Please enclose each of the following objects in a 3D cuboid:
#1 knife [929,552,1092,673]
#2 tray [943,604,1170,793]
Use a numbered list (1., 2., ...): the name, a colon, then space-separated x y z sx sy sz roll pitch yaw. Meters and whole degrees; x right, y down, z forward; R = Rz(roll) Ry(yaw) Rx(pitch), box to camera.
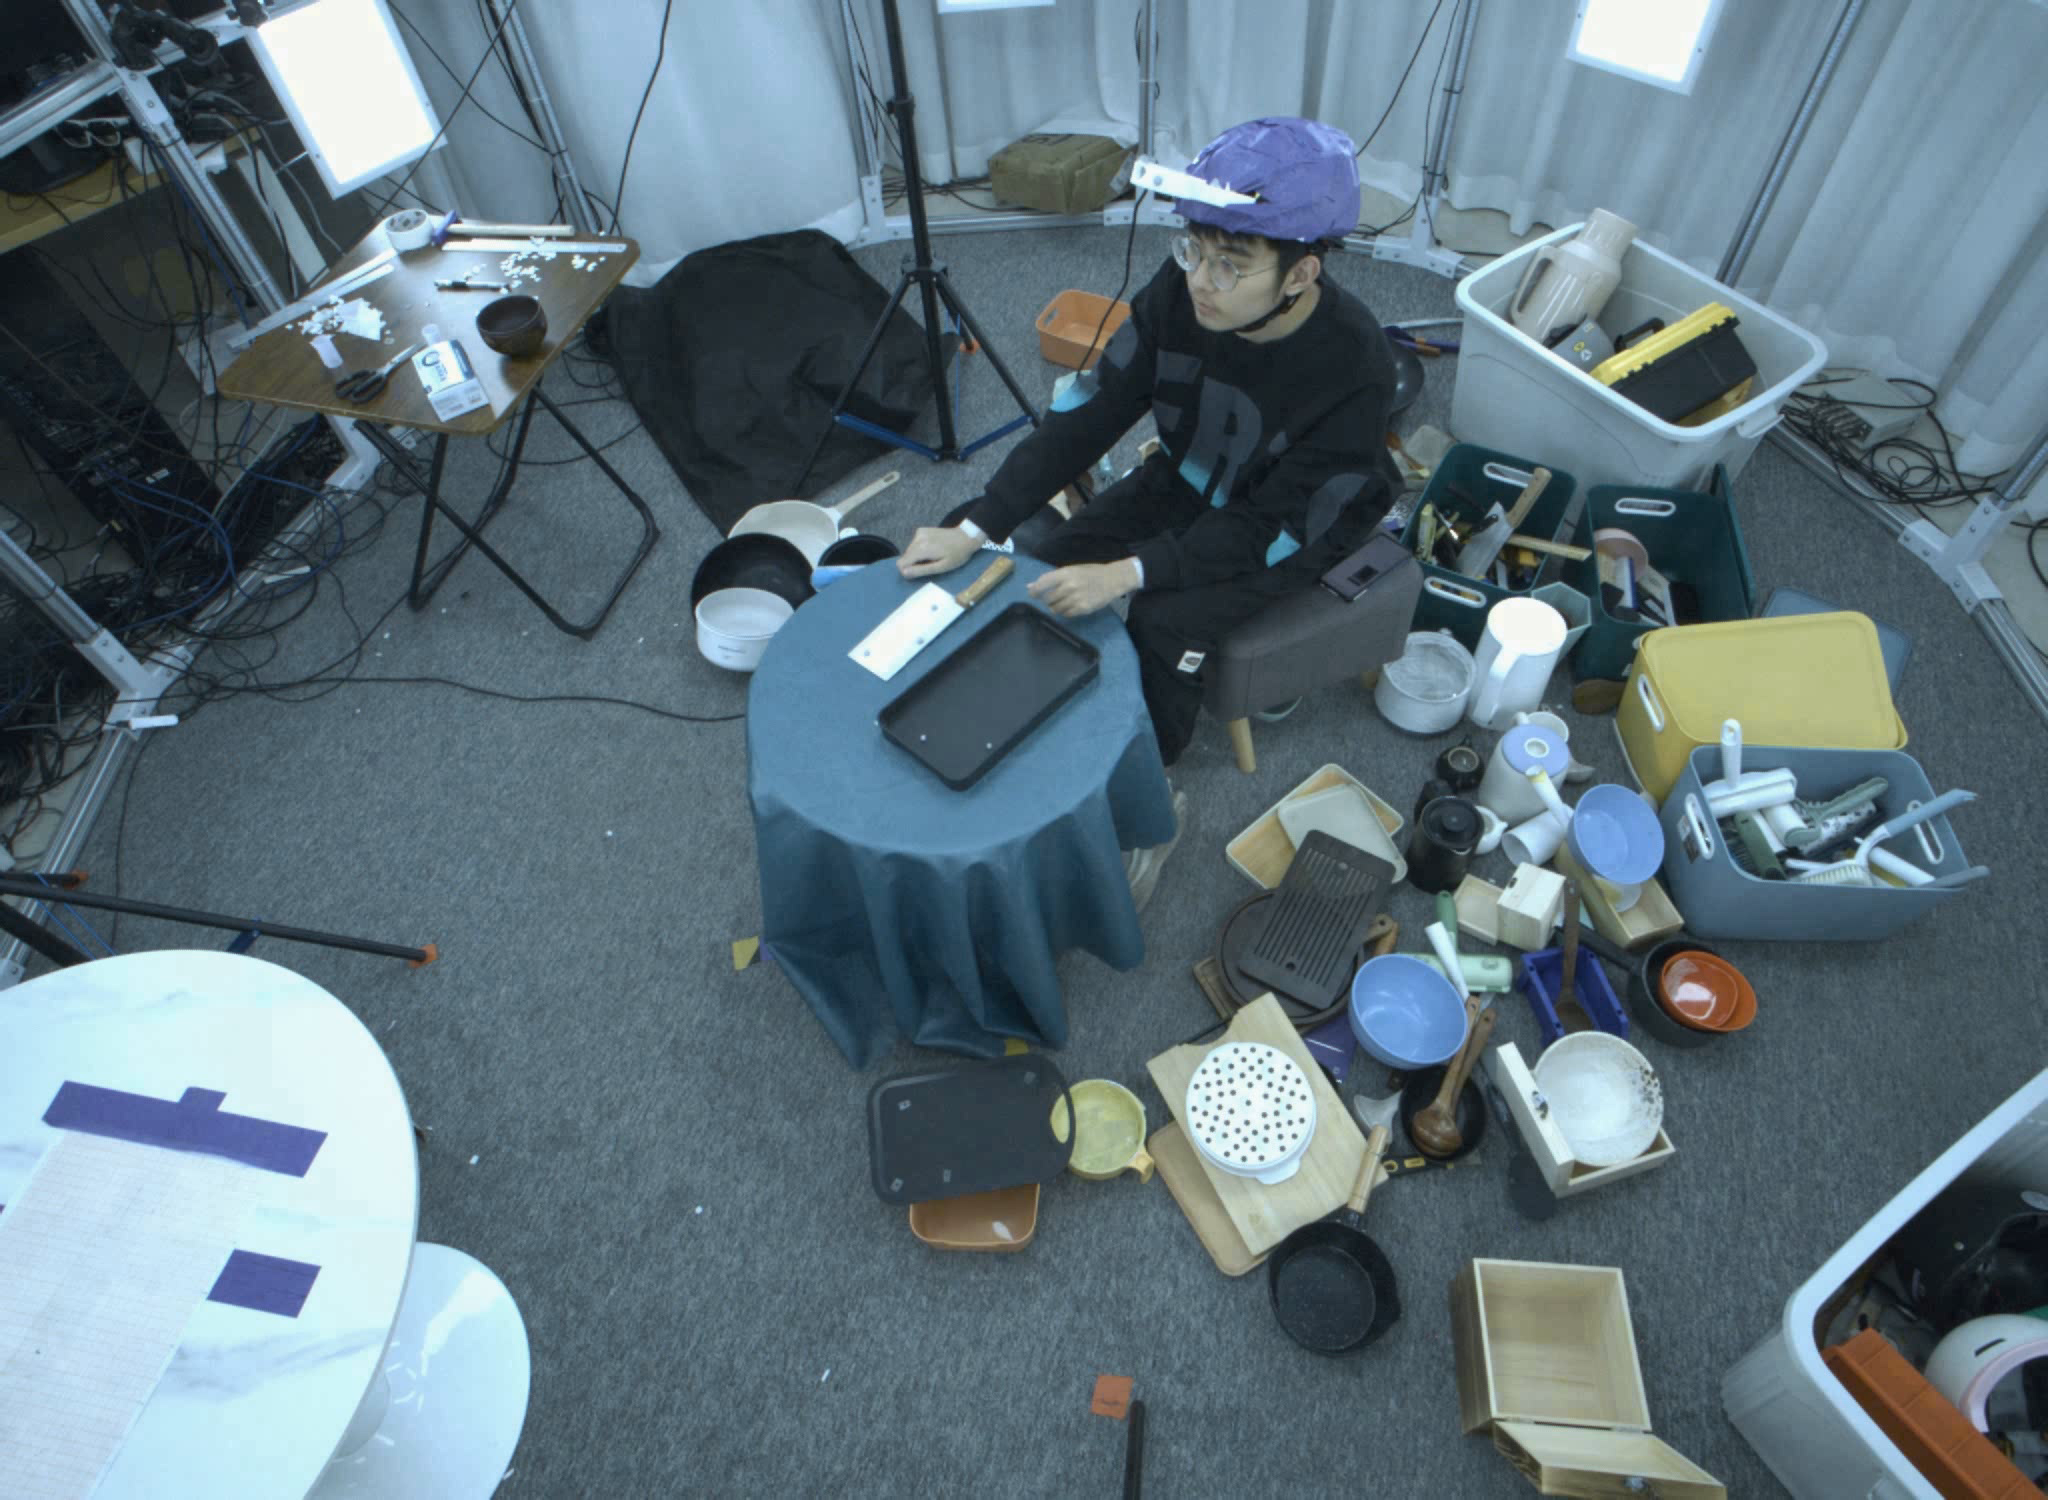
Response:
1. knife: -0.025 -0.230 1.942 0.307 0.021 0.091 -41 61 -21
2. tray: 0.050 -0.082 1.820 0.320 0.037 0.181 -39 62 -23
